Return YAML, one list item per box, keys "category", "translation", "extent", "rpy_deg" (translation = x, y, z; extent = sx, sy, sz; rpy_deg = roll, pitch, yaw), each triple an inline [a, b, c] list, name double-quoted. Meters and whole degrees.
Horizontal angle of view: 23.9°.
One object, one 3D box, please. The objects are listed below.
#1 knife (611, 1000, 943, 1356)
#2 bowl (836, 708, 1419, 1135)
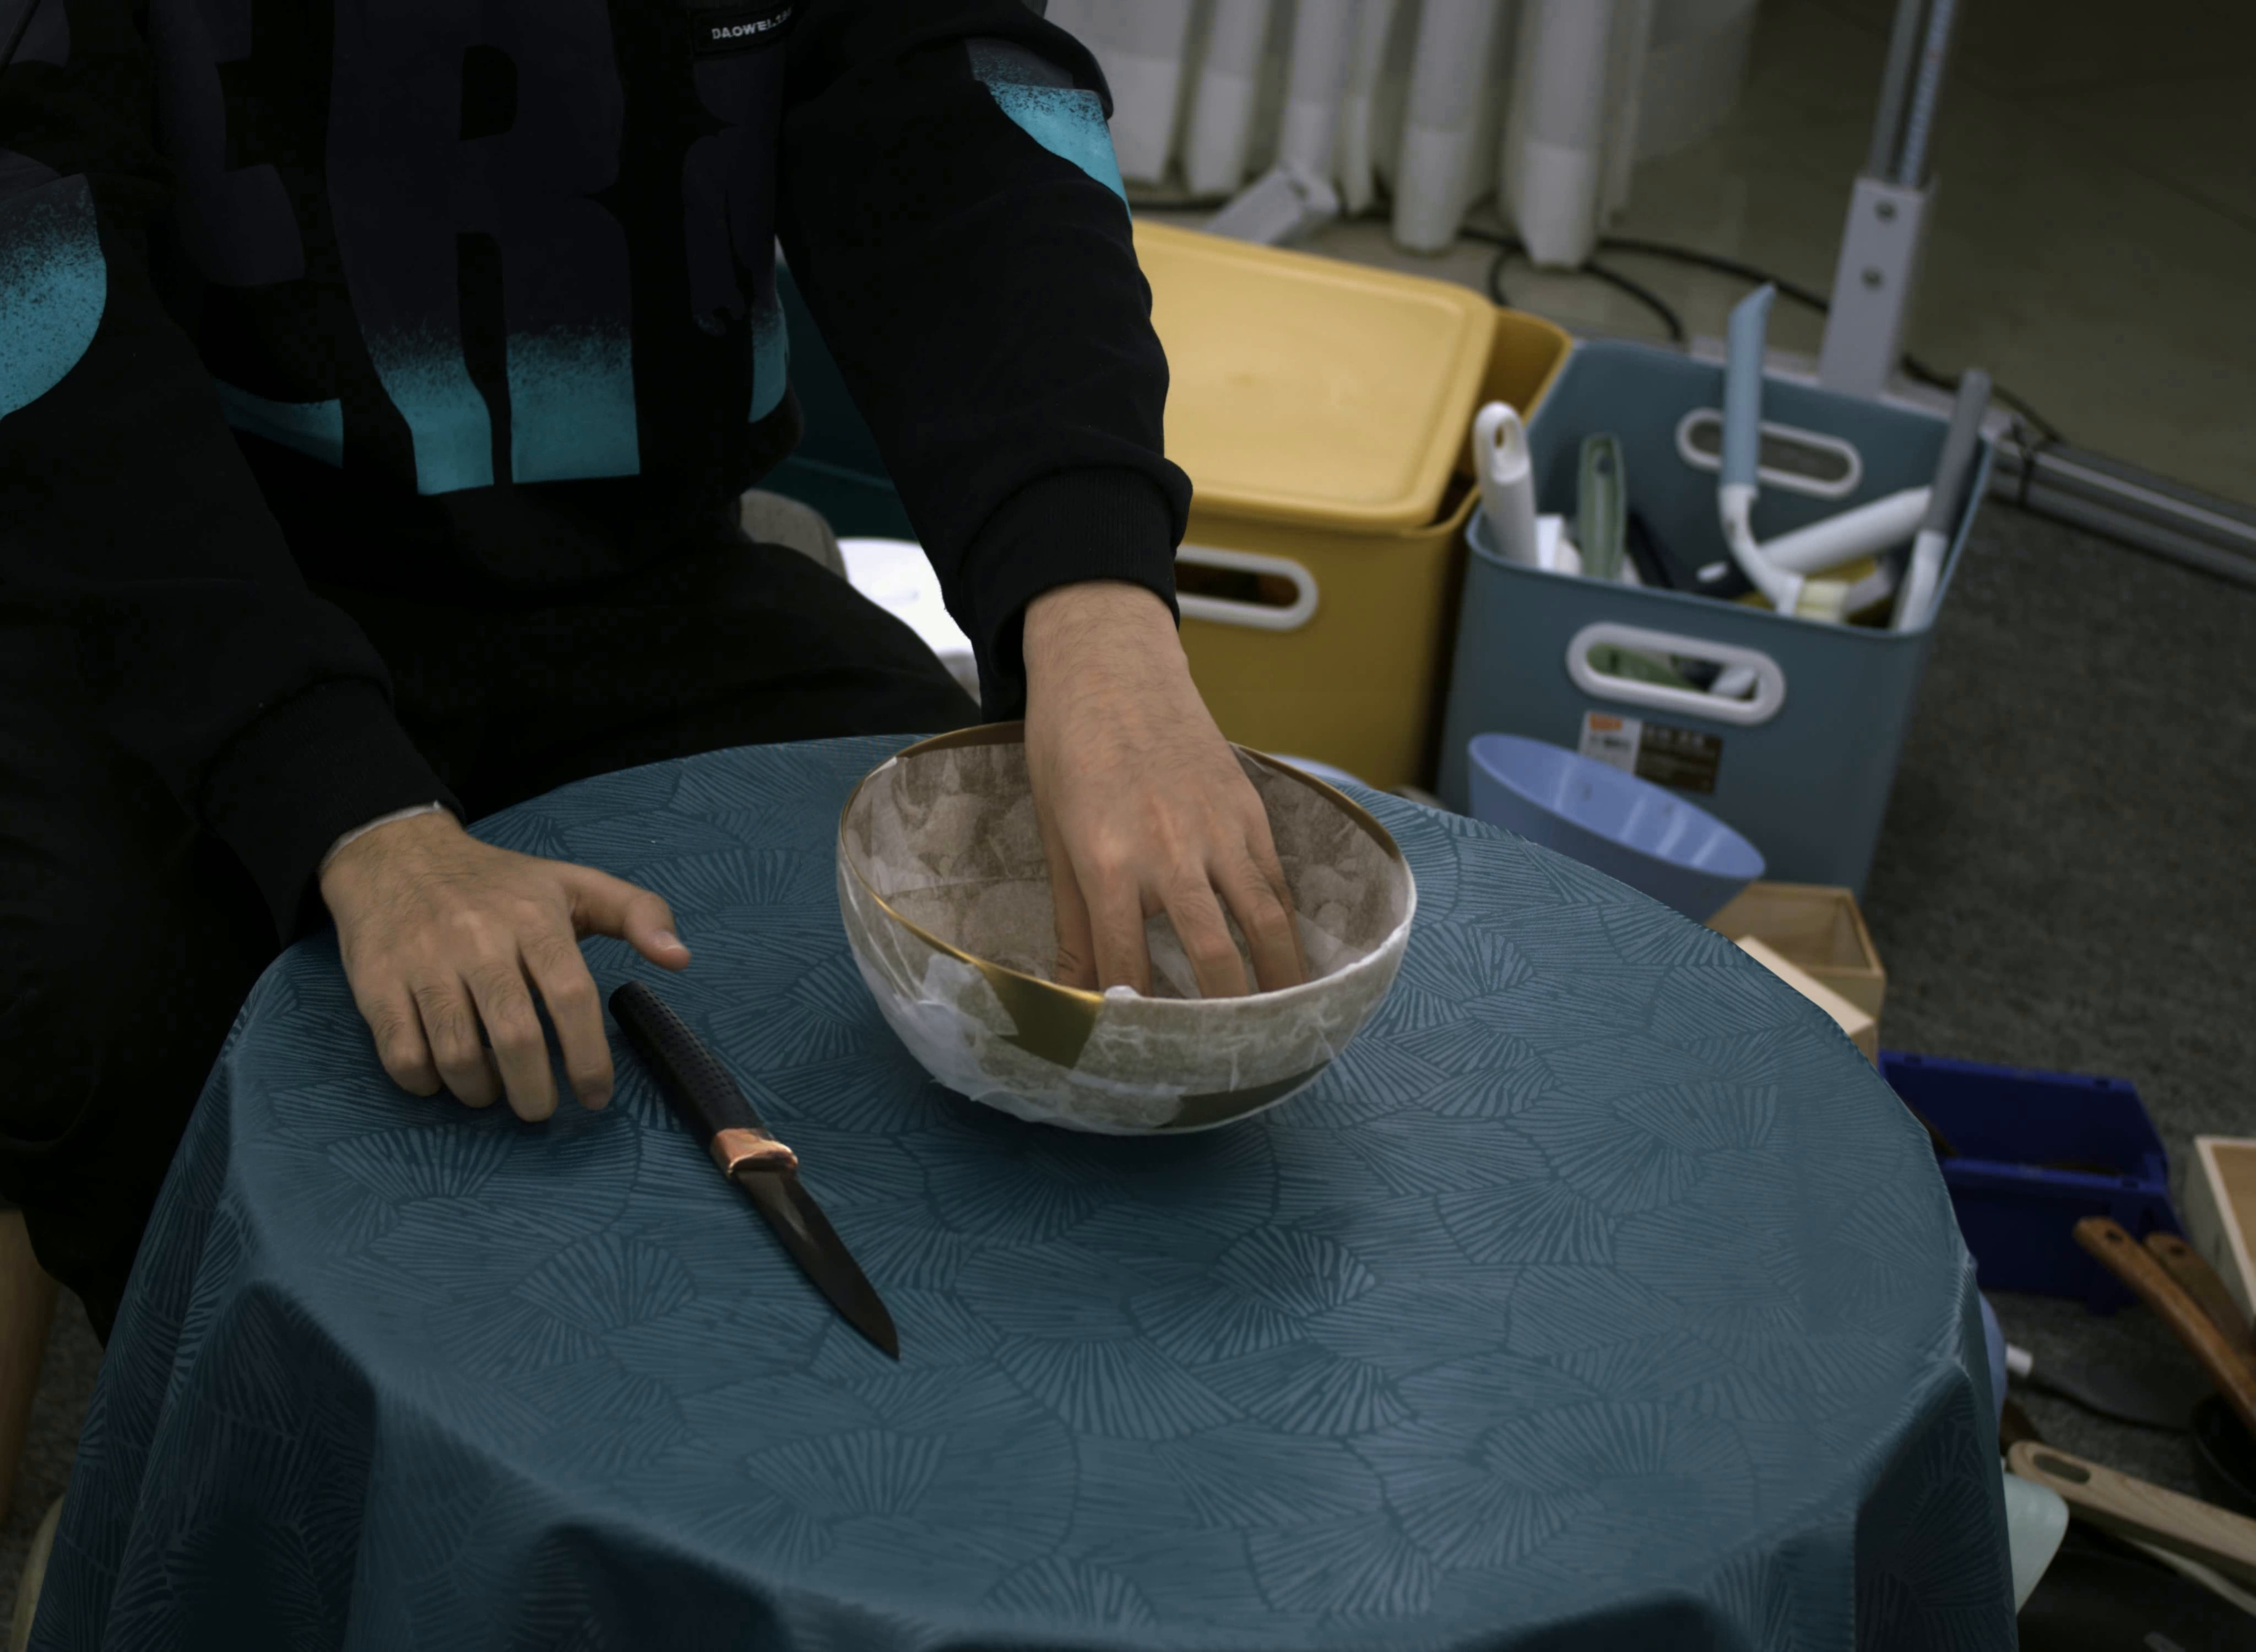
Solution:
- category: "knife"
  translation: [-0.120, 0.116, 1.779]
  extent: [0.026, 0.017, 0.227]
  rpy_deg: [-3, 29, -31]
- category: "bowl"
  translation: [-0.005, 0.045, 1.851]
  extent: [0.214, 0.094, 0.216]
  rpy_deg: [5, 28, -3]
